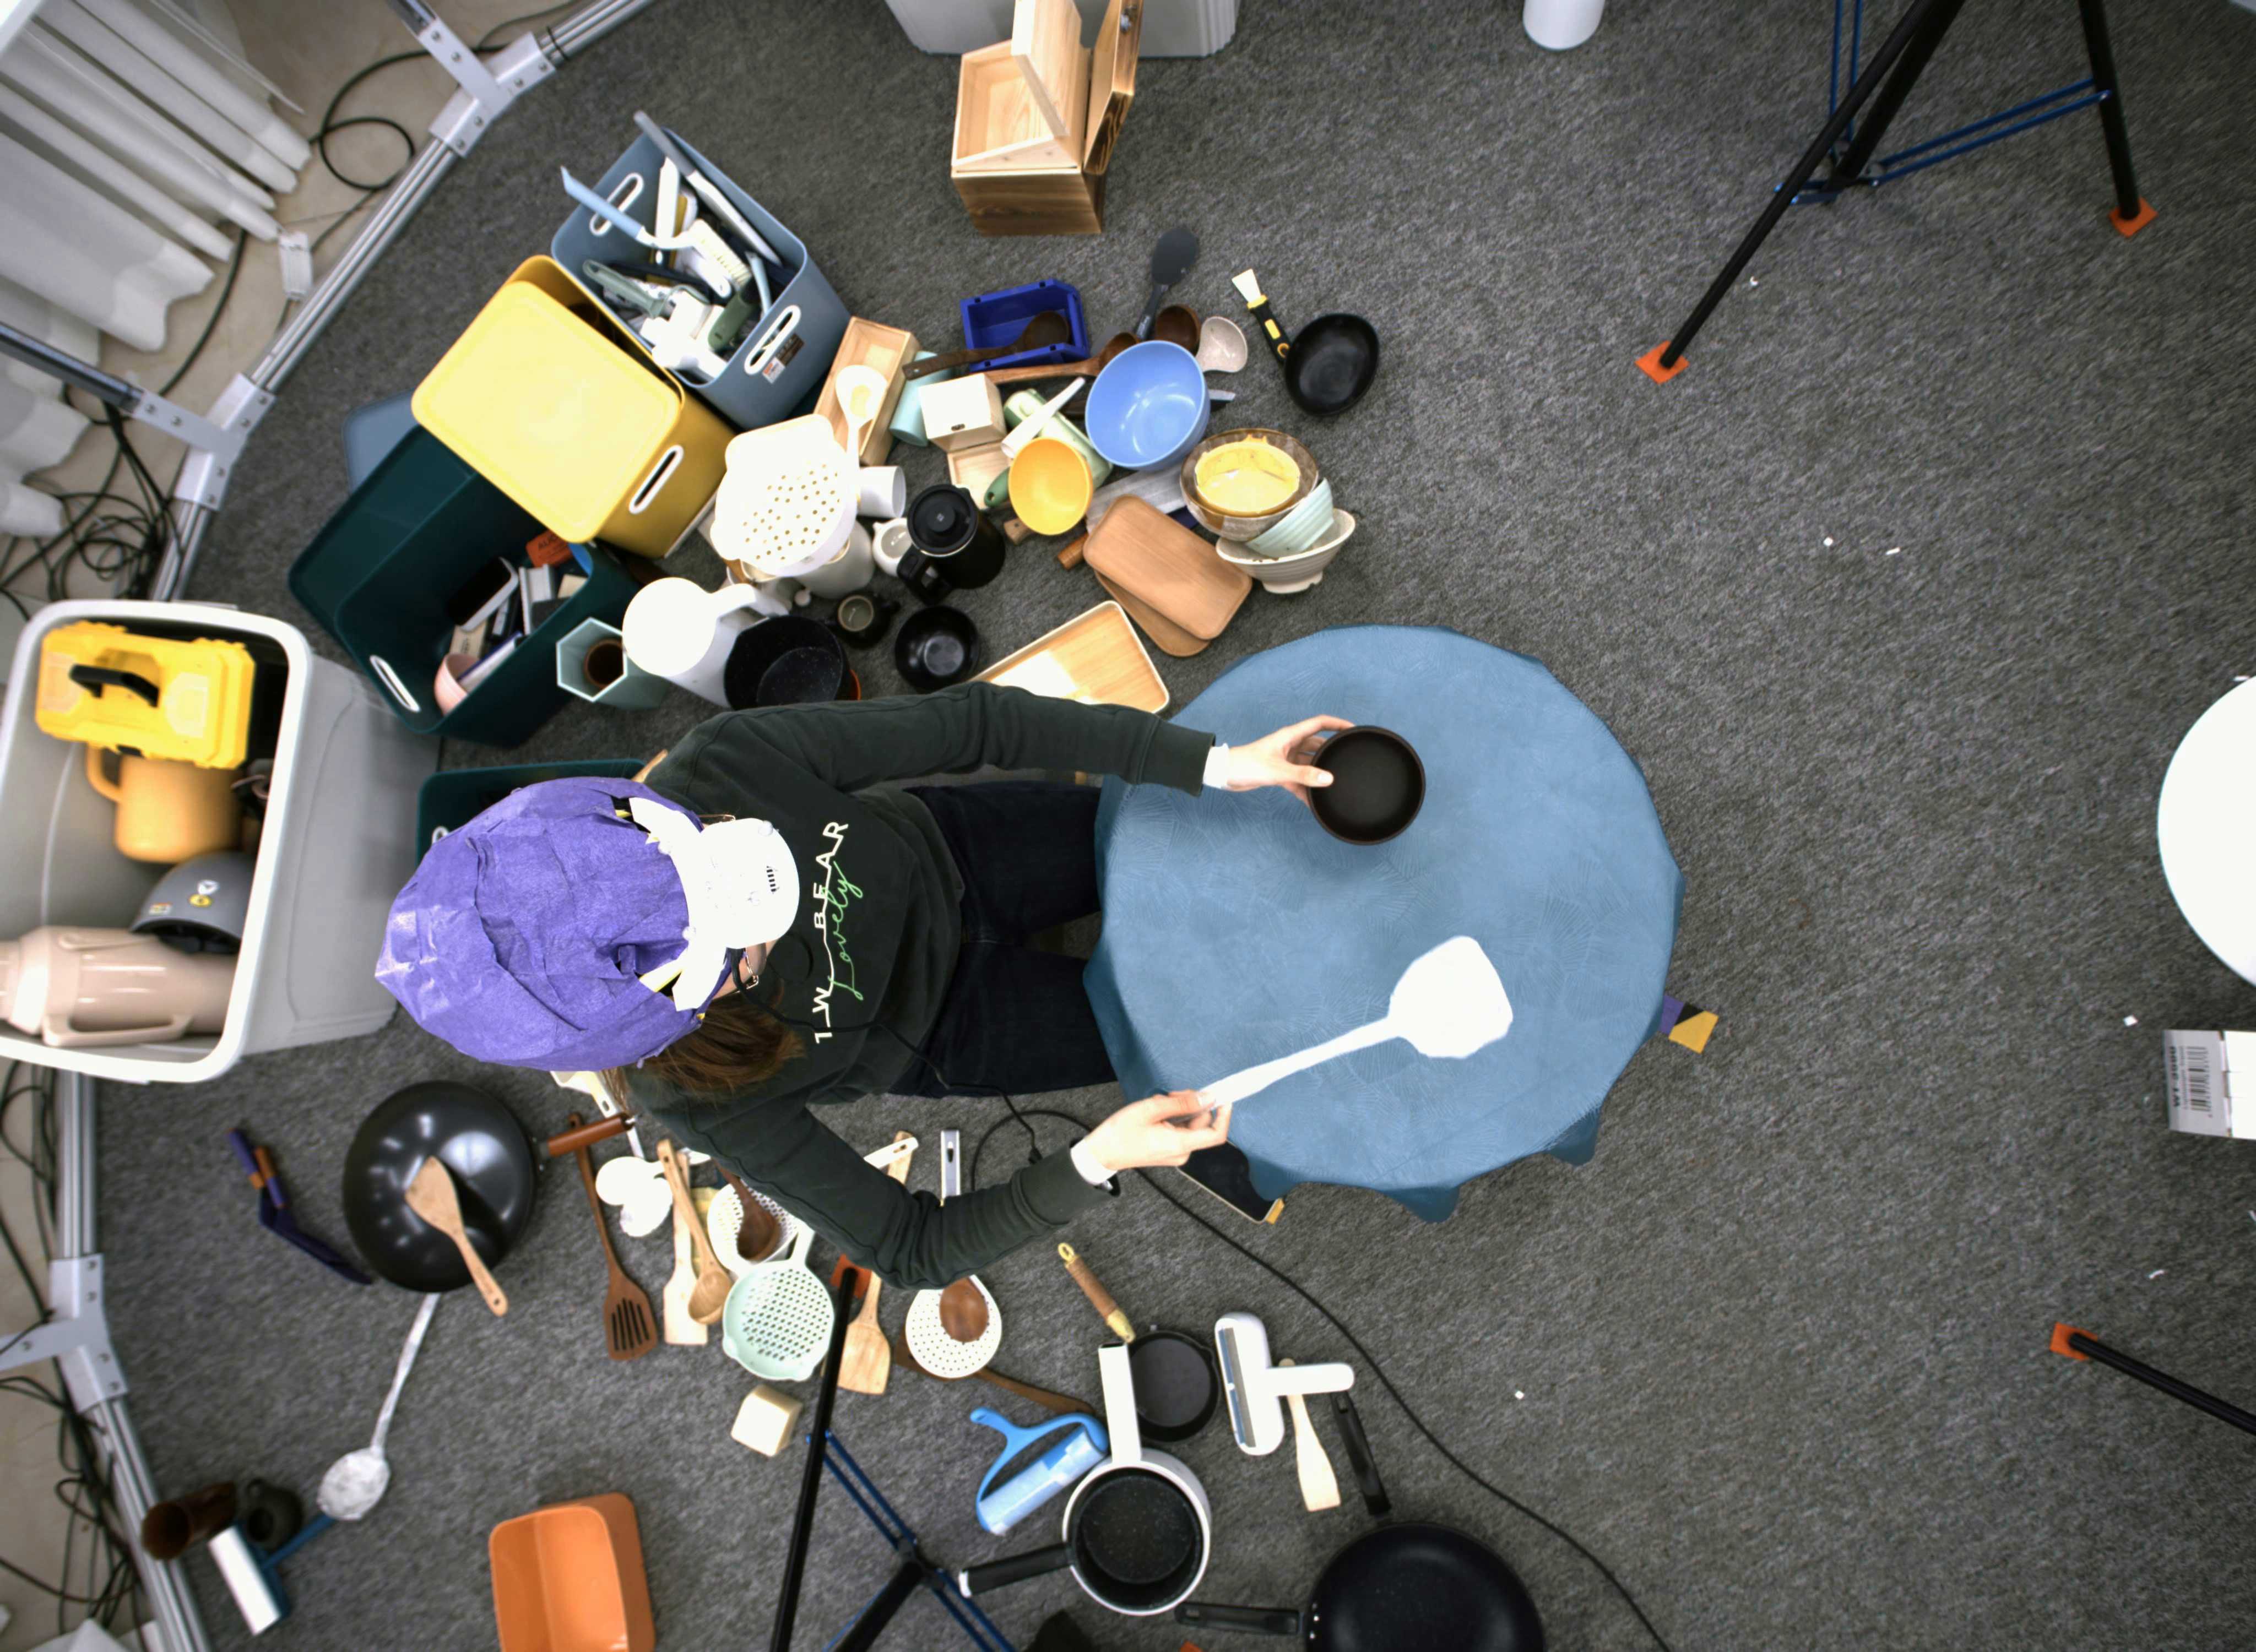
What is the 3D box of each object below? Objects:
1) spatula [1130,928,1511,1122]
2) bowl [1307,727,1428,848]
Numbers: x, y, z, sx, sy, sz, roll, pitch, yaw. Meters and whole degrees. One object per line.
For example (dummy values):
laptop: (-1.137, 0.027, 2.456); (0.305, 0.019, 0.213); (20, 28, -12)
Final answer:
spatula: (0.171, 0.201, 1.273); (0.366, 0.045, 0.097); (-22, 72, 3)
bowl: (0.237, -0.040, 1.363); (0.118, 0.069, 0.119); (1, 97, 10)
